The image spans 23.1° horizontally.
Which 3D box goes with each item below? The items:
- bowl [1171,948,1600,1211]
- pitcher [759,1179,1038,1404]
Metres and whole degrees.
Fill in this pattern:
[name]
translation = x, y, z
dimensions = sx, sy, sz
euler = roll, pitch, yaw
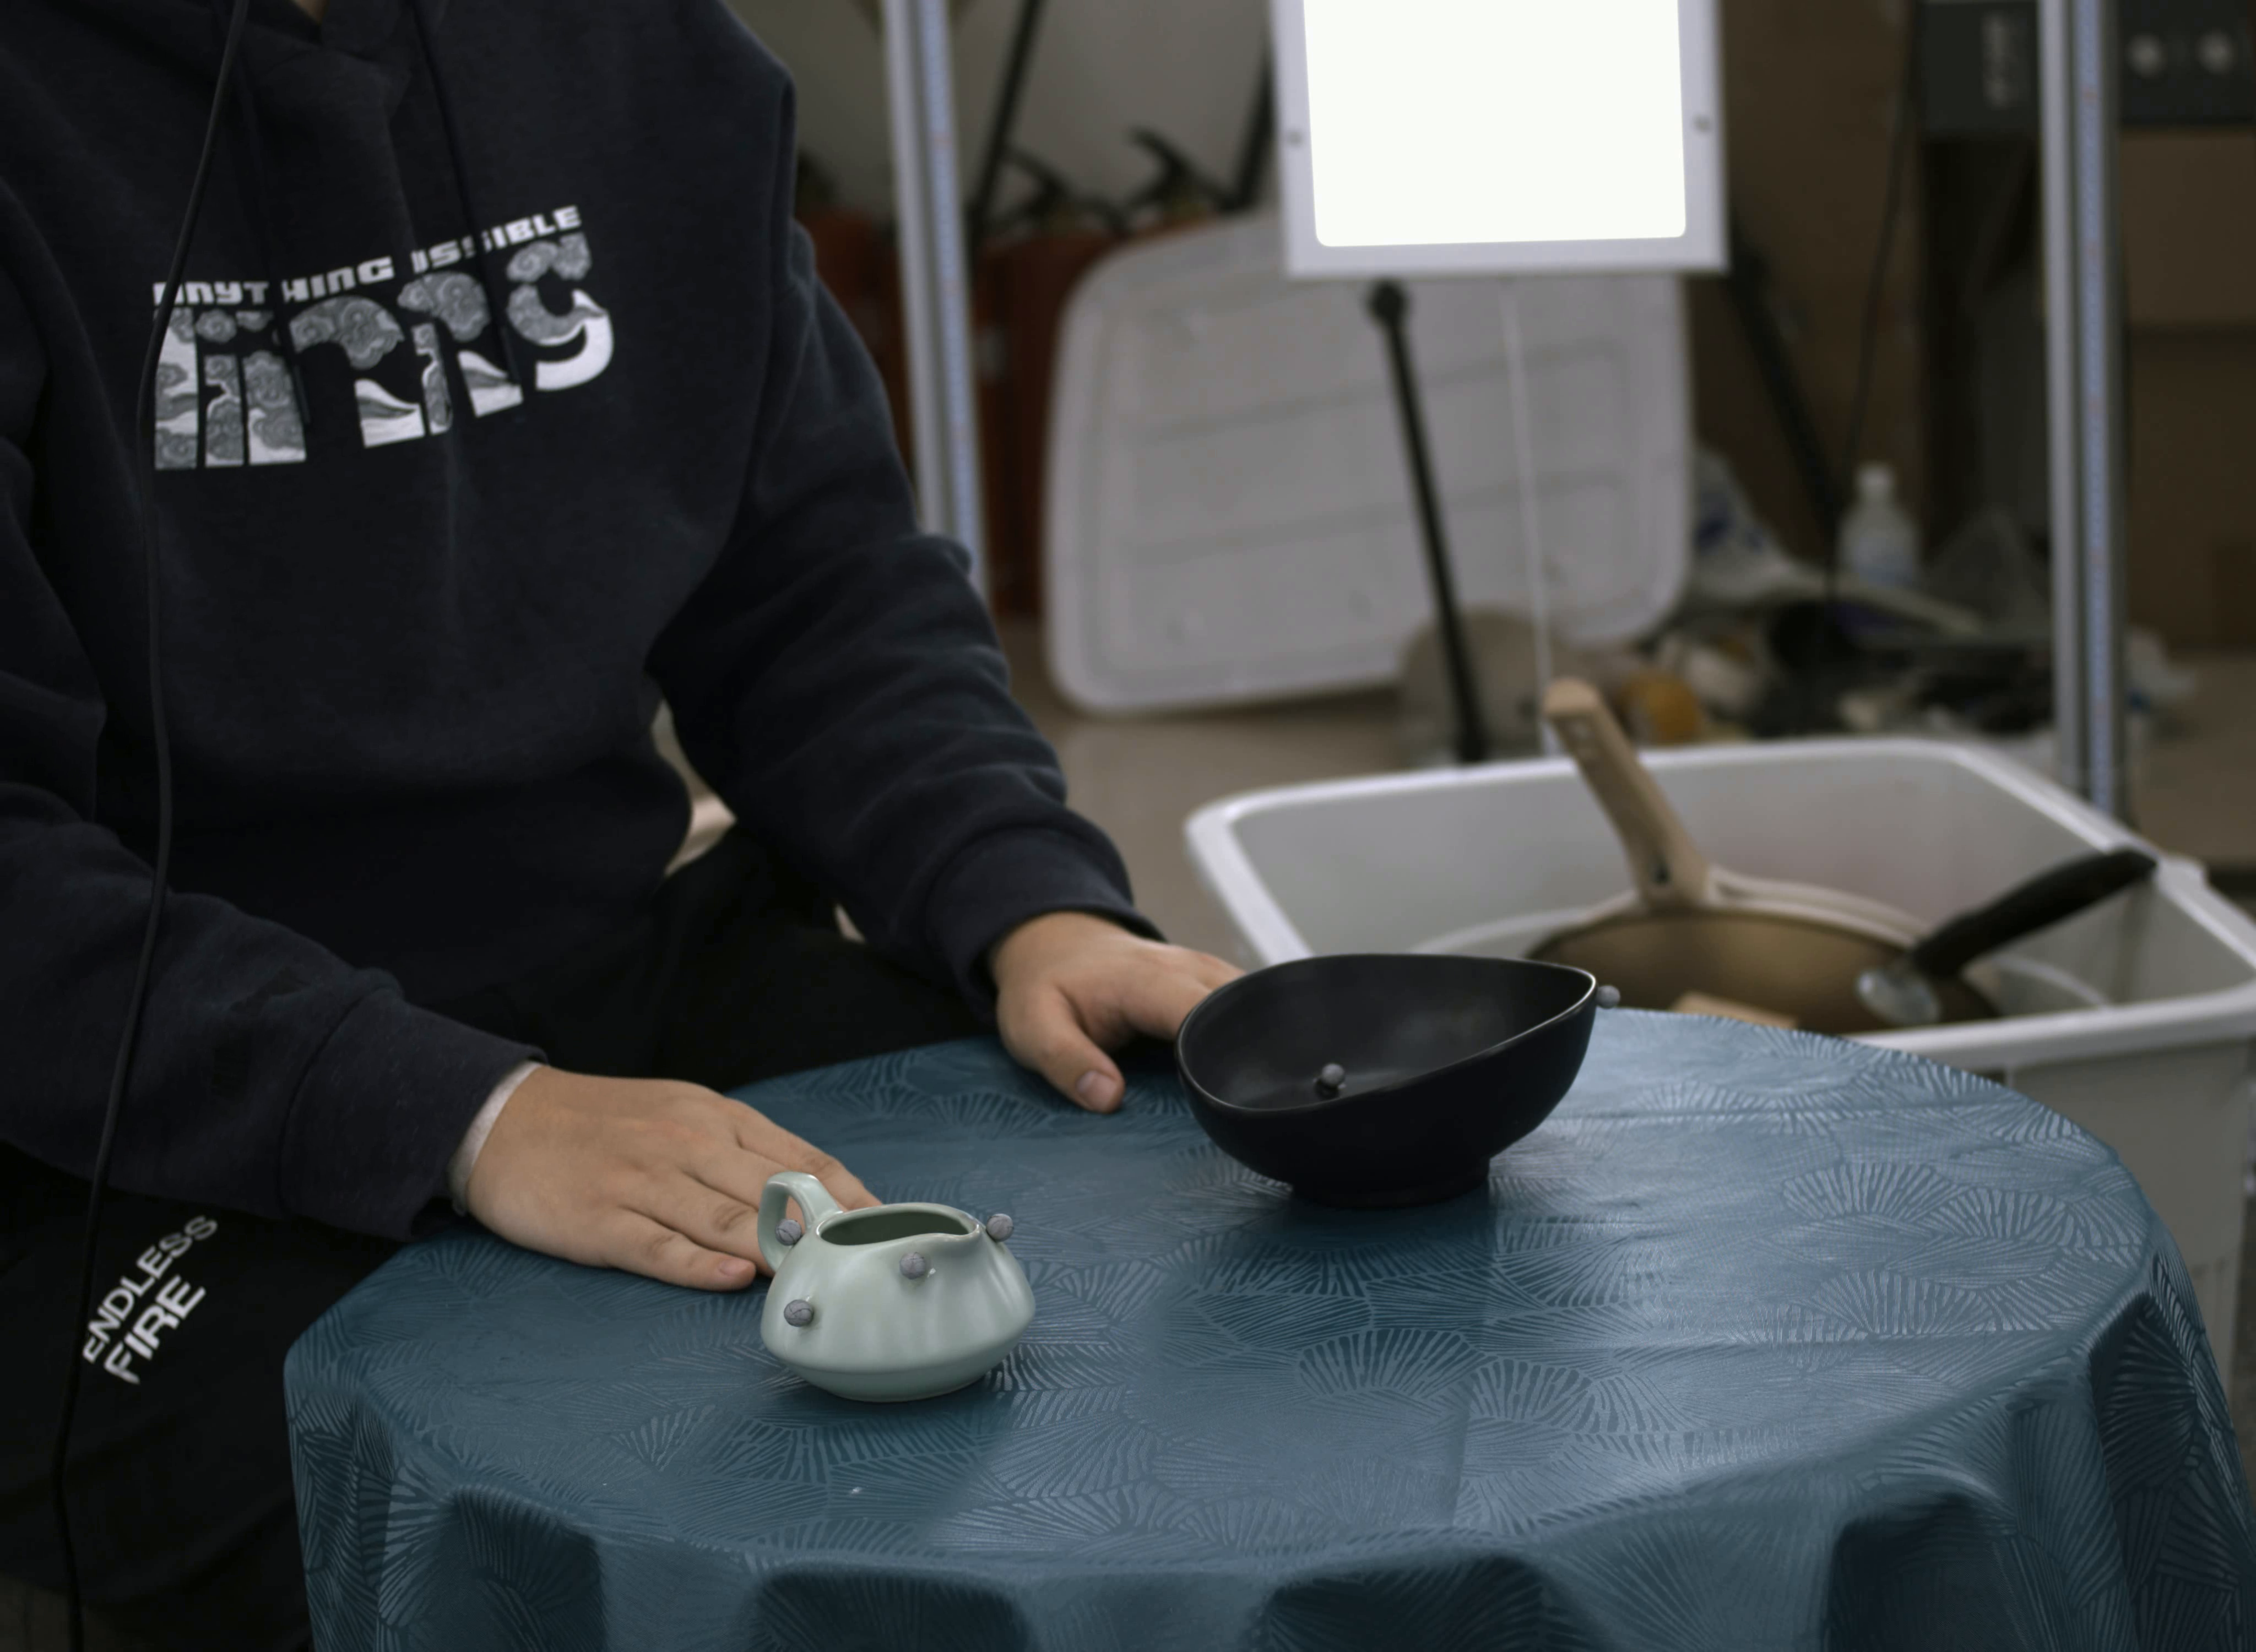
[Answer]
[bowl]
translation = 0.091, 0.091, 1.881
dimensions = 0.140, 0.067, 0.166
euler = 4, 17, 35
[pitcher]
translation = -0.080, 0.145, 1.731
dimensions = 0.084, 0.060, 0.110
euler = -15, 15, -40
